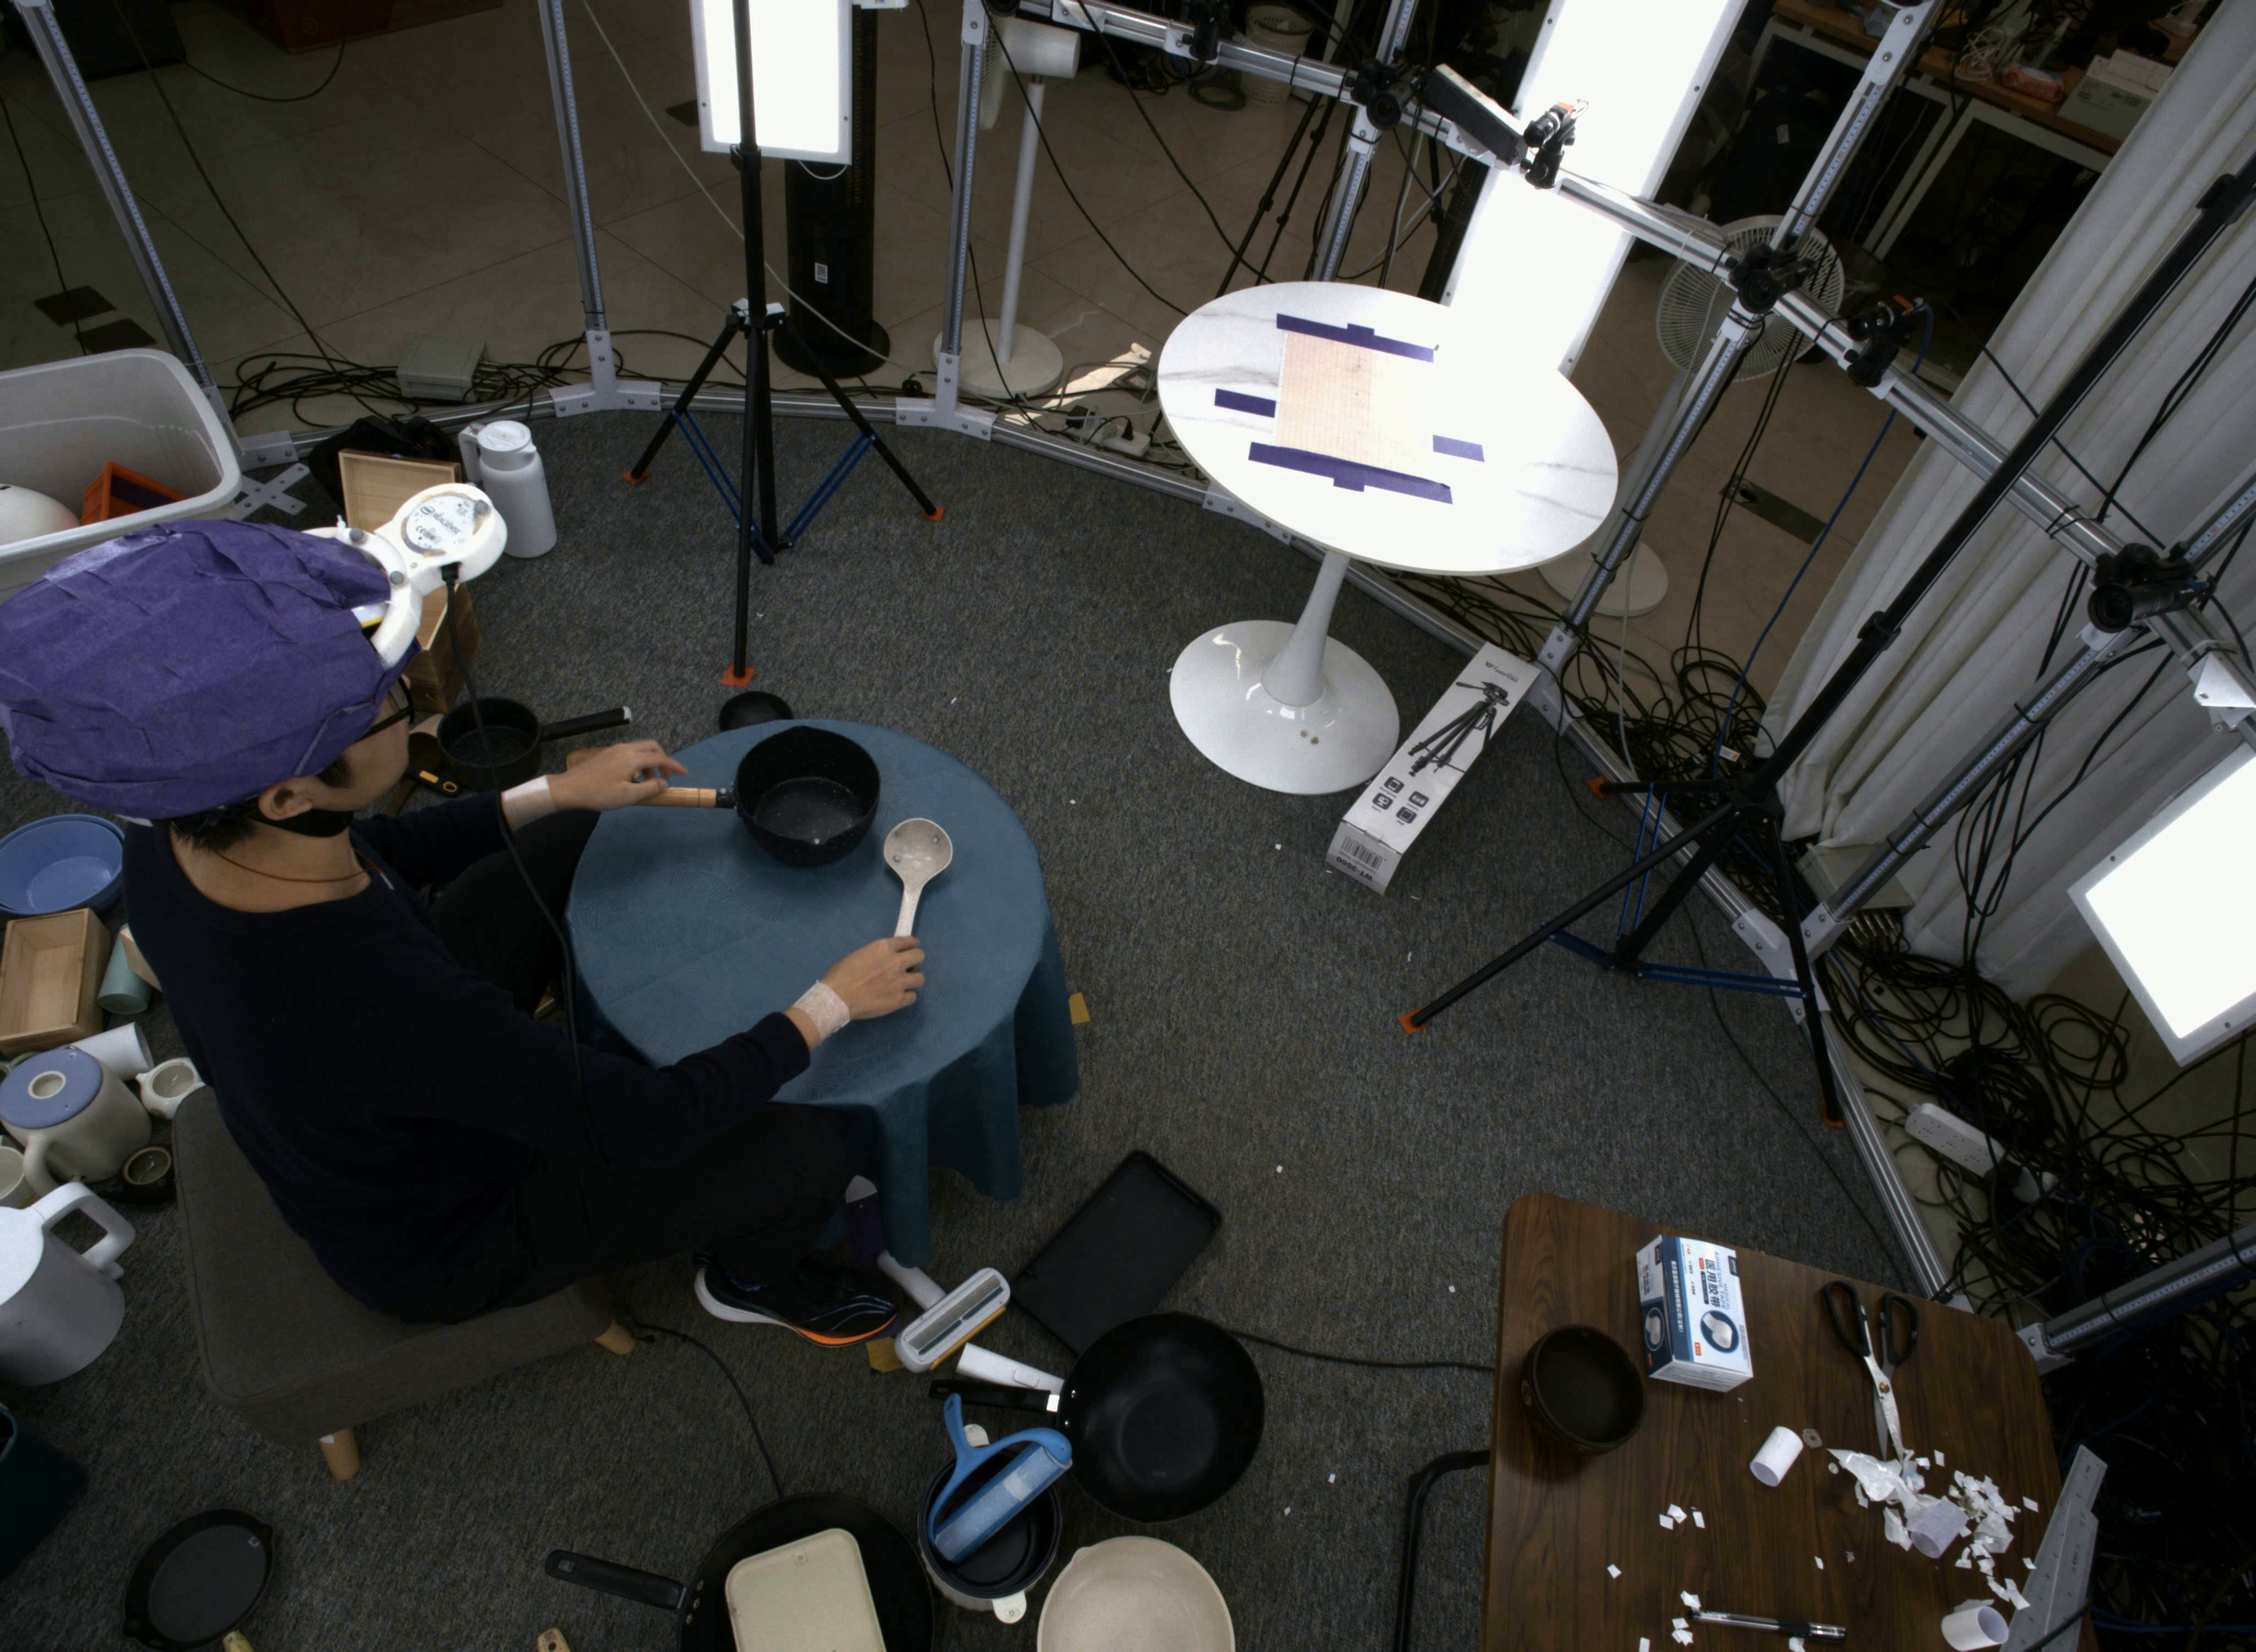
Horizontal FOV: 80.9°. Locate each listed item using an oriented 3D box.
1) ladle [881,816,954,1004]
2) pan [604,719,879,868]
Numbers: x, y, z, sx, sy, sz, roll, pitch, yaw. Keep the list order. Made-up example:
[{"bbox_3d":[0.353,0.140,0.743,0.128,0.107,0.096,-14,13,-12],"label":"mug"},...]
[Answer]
[{"bbox_3d":[-0.273,0.096,1.604,0.089,0.071,0.269,10,38,-6],"label":"ladle"},{"bbox_3d":[-0.490,-0.030,1.649,0.345,0.110,0.202,-7,57,-21],"label":"pan"}]
